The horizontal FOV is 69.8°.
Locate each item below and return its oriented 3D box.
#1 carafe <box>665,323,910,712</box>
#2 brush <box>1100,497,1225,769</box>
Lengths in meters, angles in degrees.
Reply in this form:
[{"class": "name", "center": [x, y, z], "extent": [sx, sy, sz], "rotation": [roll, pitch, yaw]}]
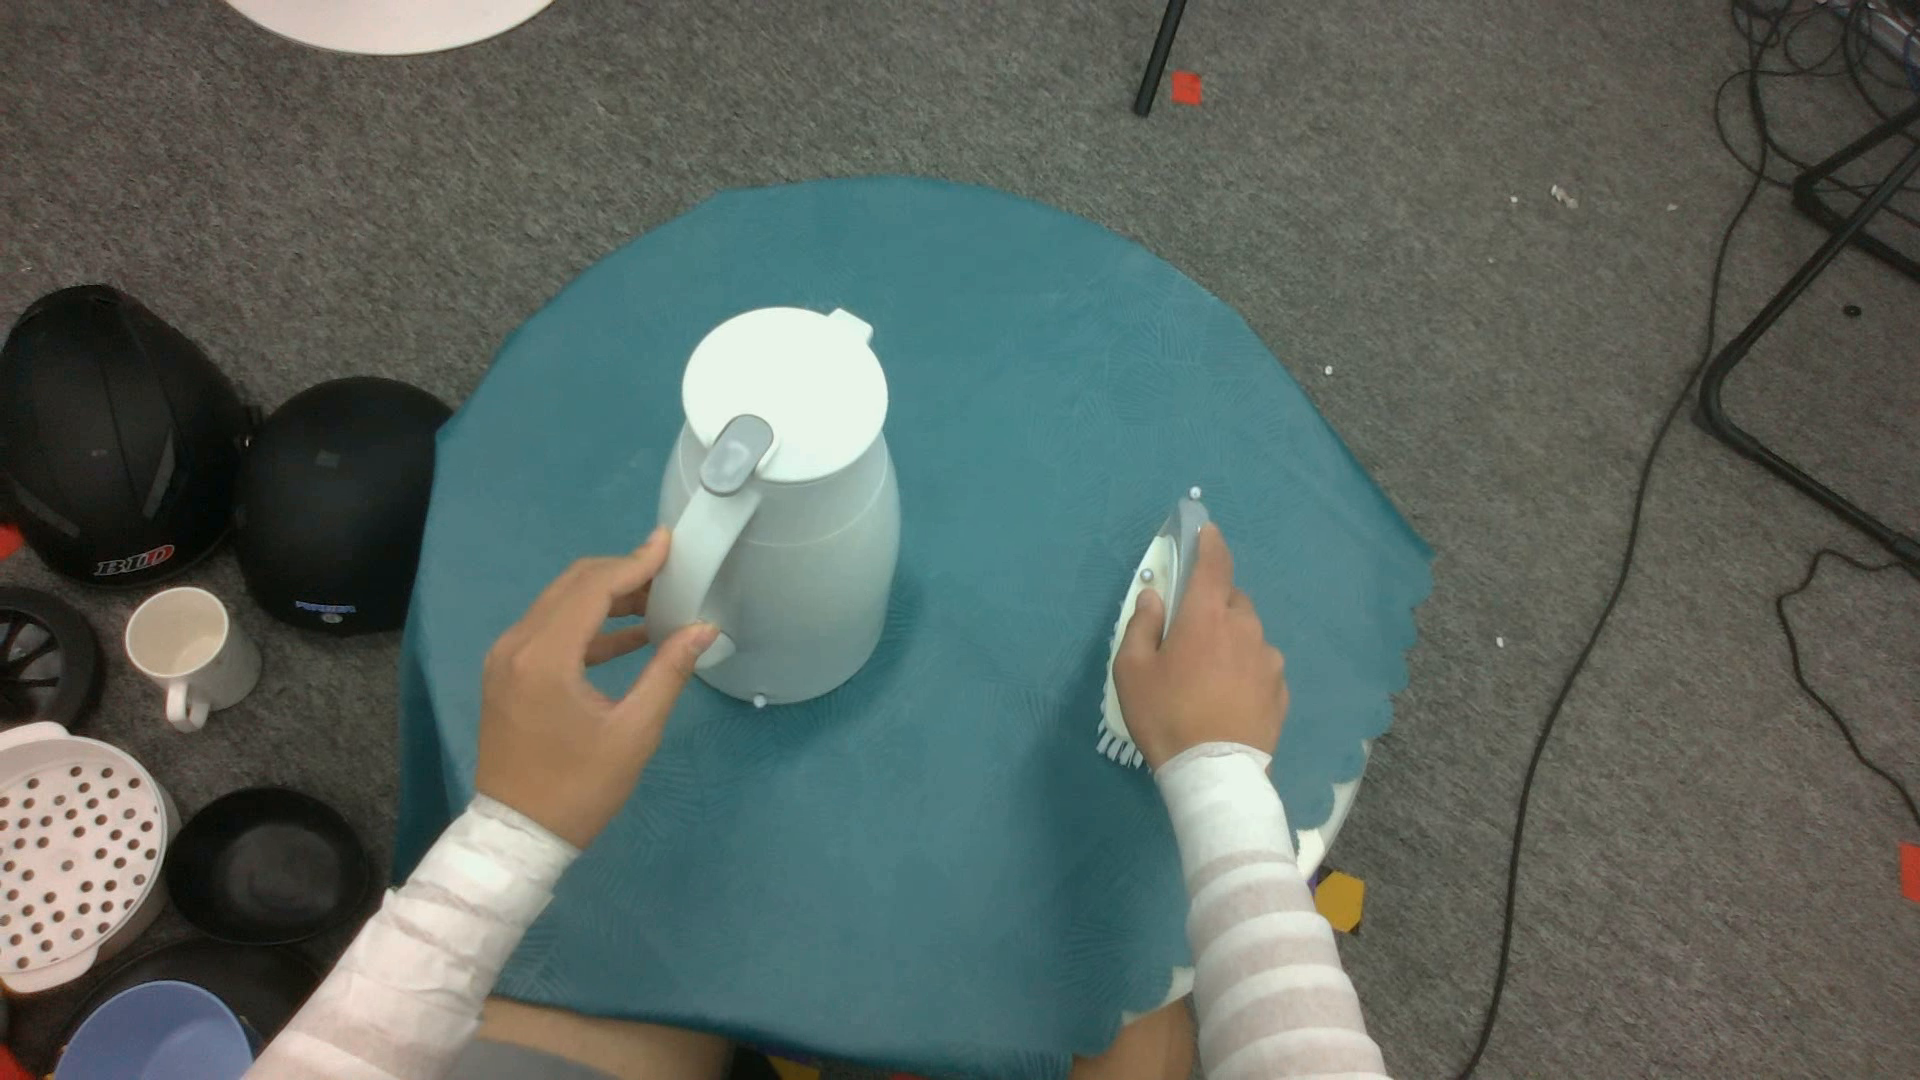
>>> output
[{"class": "carafe", "center": [-0.097, 0.005, 0.724], "extent": [0.132, 0.247, 0.168], "rotation": [27, 64, 6]}, {"class": "brush", "center": [0.131, 0.040, 0.823], "extent": [0.061, 0.094, 0.176], "rotation": [16, 59, -2]}]
